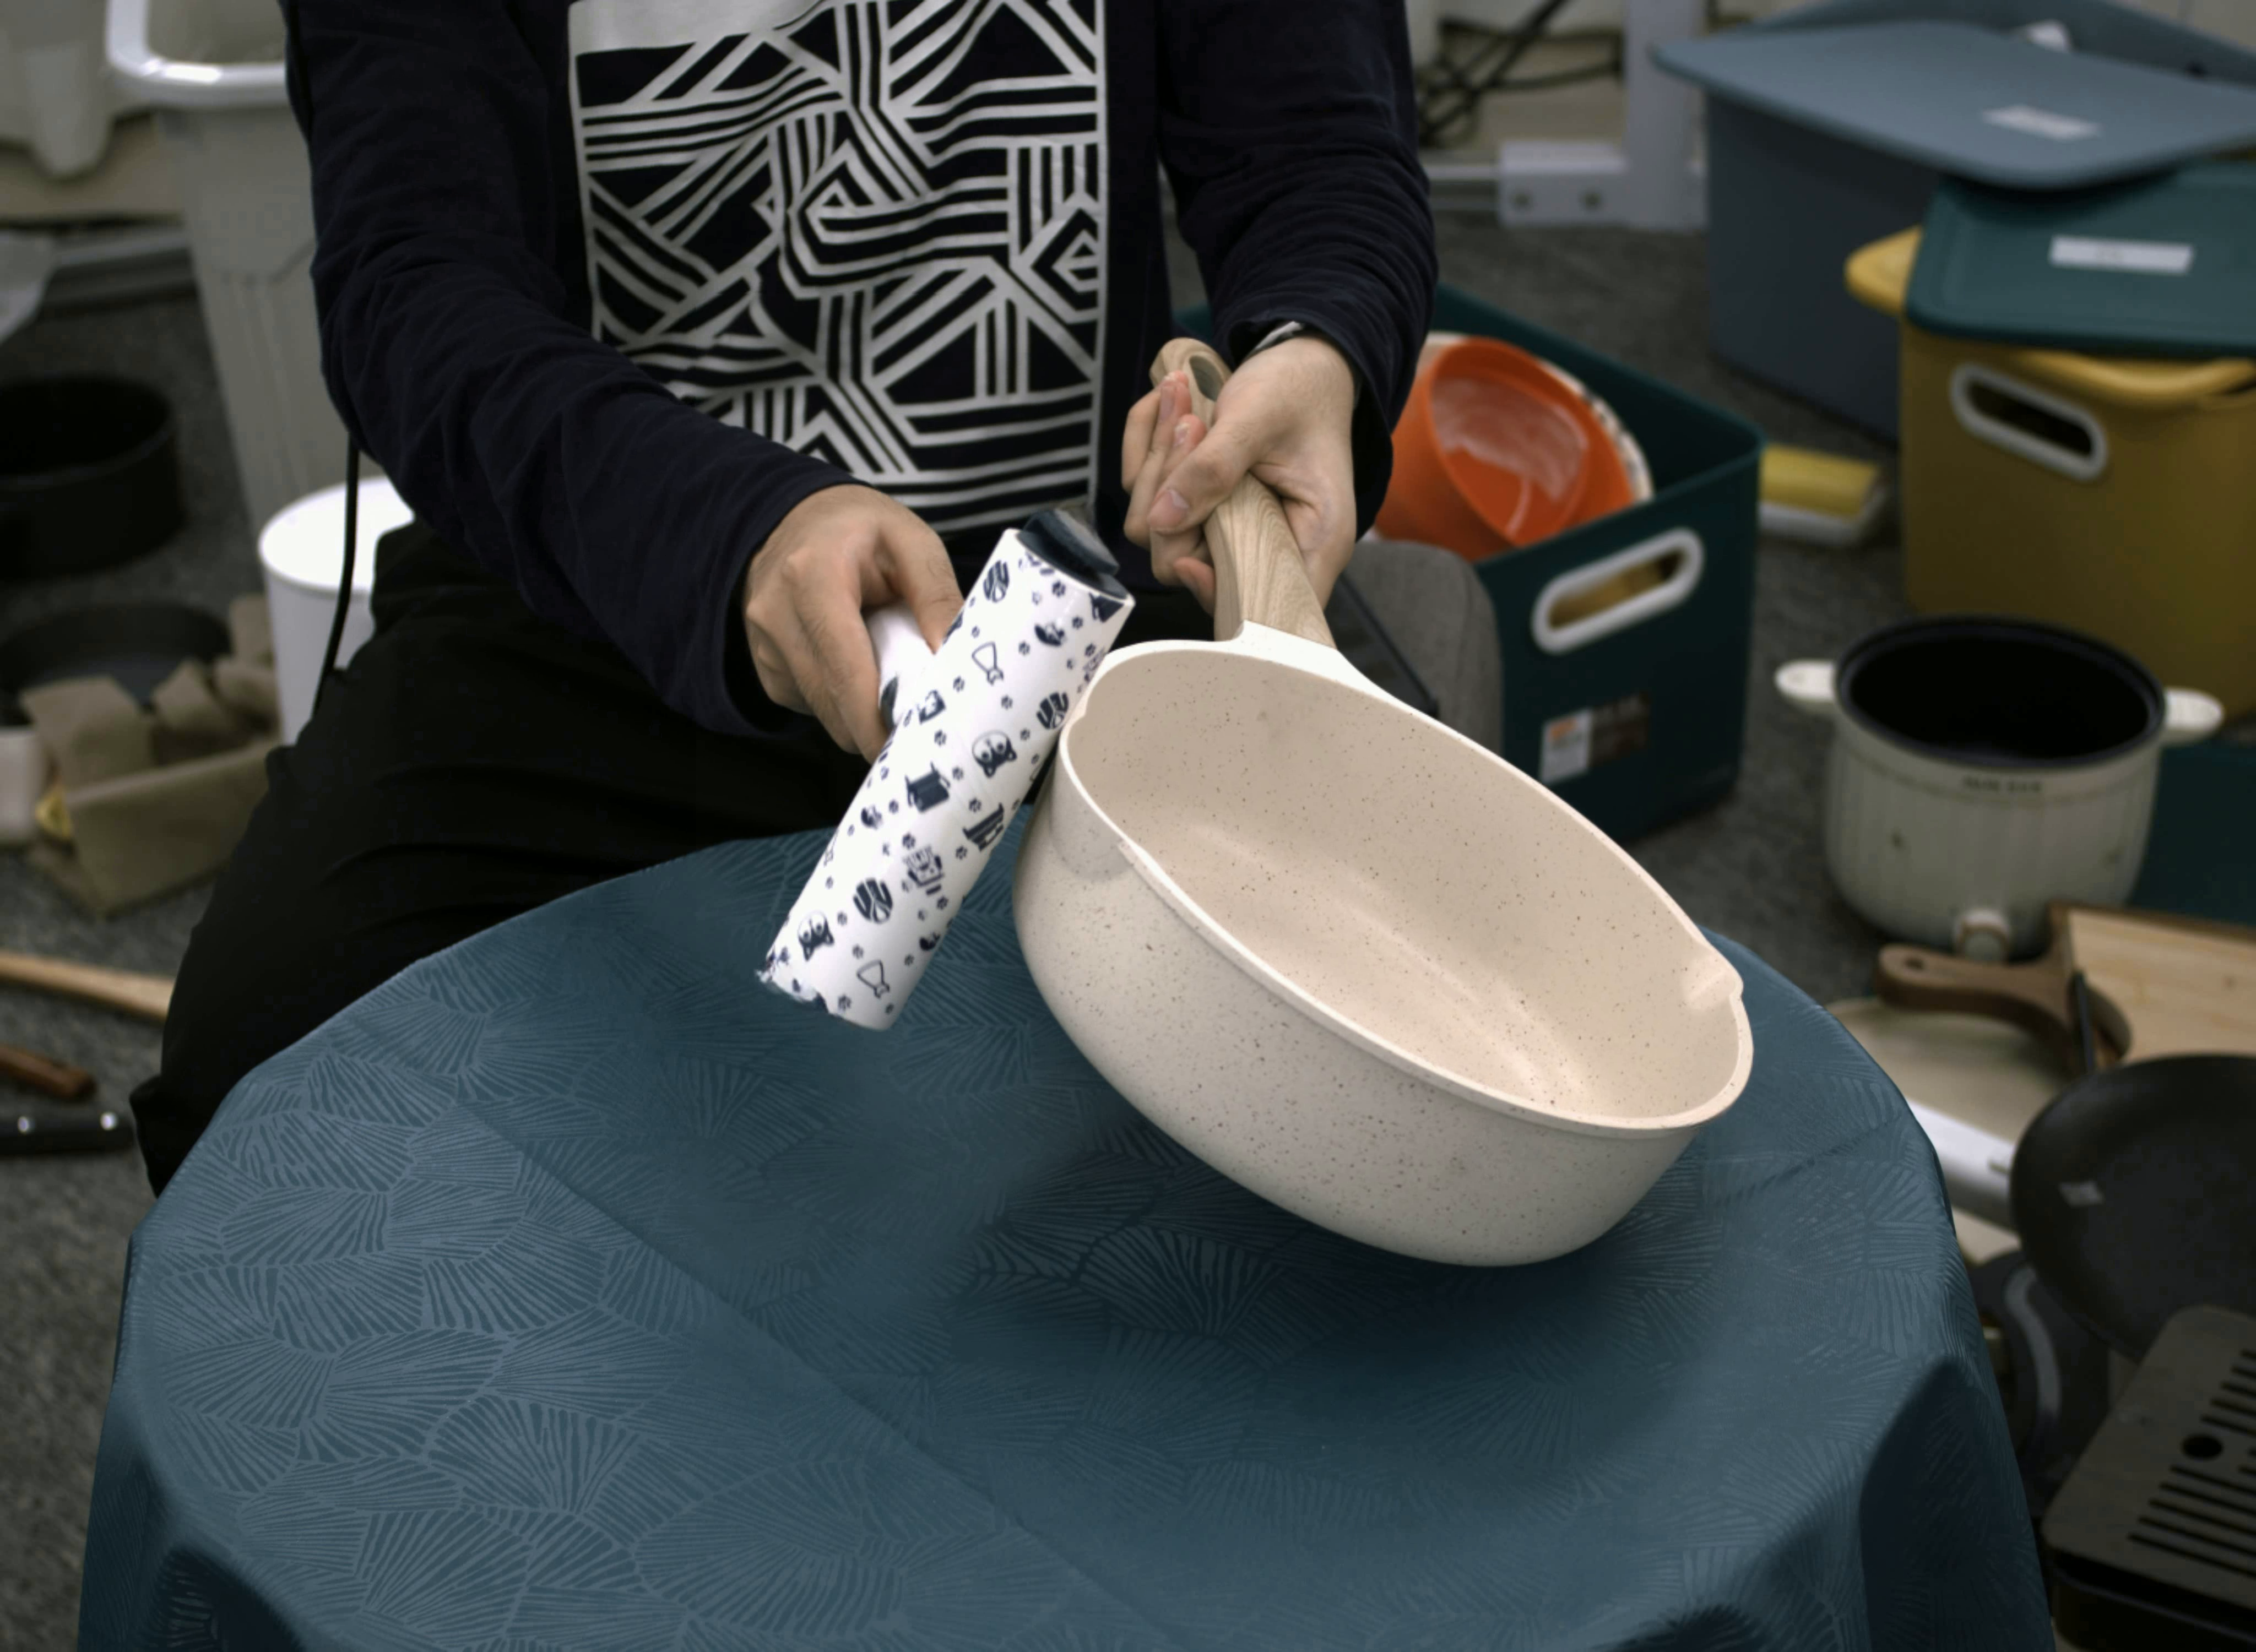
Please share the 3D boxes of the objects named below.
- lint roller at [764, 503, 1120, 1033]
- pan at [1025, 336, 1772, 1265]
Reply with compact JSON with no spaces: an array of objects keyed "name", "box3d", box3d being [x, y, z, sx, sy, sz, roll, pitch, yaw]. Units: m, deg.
[{"name":"lint roller","box3d":[-0.073,-0.043,1.876,0.050,0.176,0.249,26,10,-15]},{"name":"pan","box3d":[0.058,-0.012,1.893,0.263,0.101,0.441,15,29,-27]}]
